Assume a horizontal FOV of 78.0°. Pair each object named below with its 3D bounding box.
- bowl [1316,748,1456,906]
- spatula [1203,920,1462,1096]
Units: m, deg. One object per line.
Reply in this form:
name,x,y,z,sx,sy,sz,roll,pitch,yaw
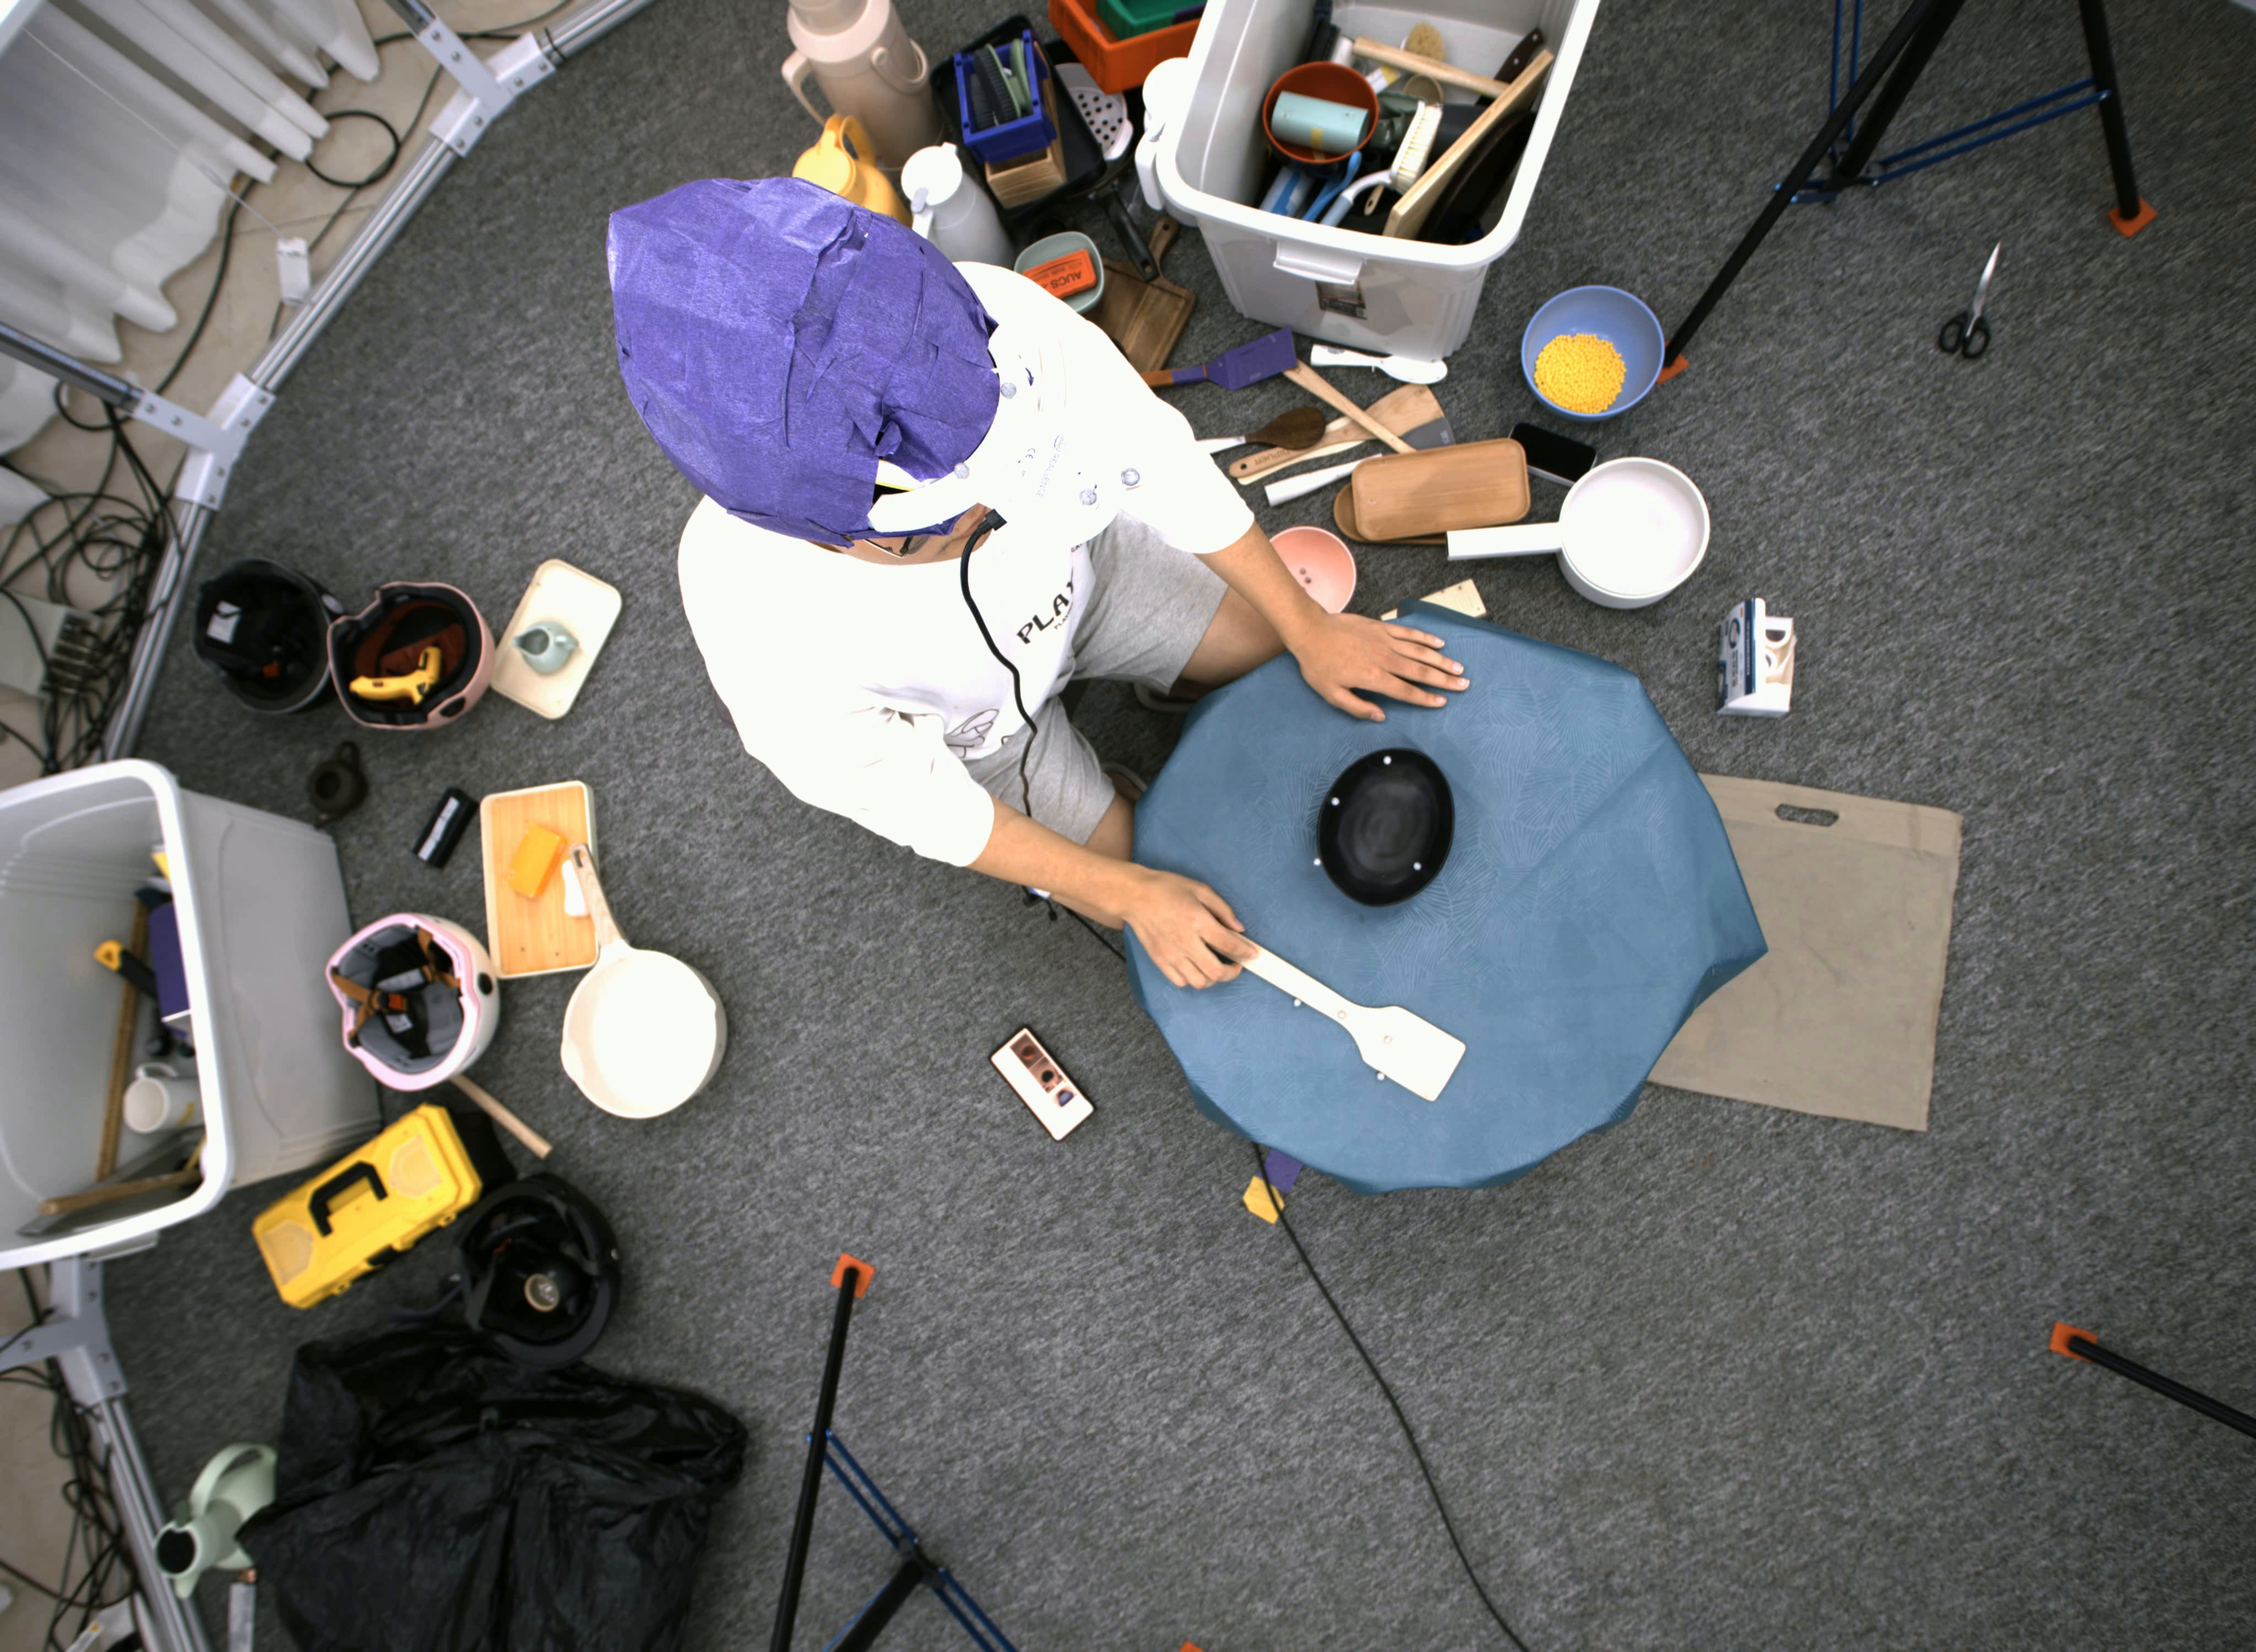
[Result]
bowl,0.268,0.000,1.432,0.137,0.067,0.170,18,88,12
spatula,0.207,0.181,1.459,0.292,0.010,0.072,30,93,9
